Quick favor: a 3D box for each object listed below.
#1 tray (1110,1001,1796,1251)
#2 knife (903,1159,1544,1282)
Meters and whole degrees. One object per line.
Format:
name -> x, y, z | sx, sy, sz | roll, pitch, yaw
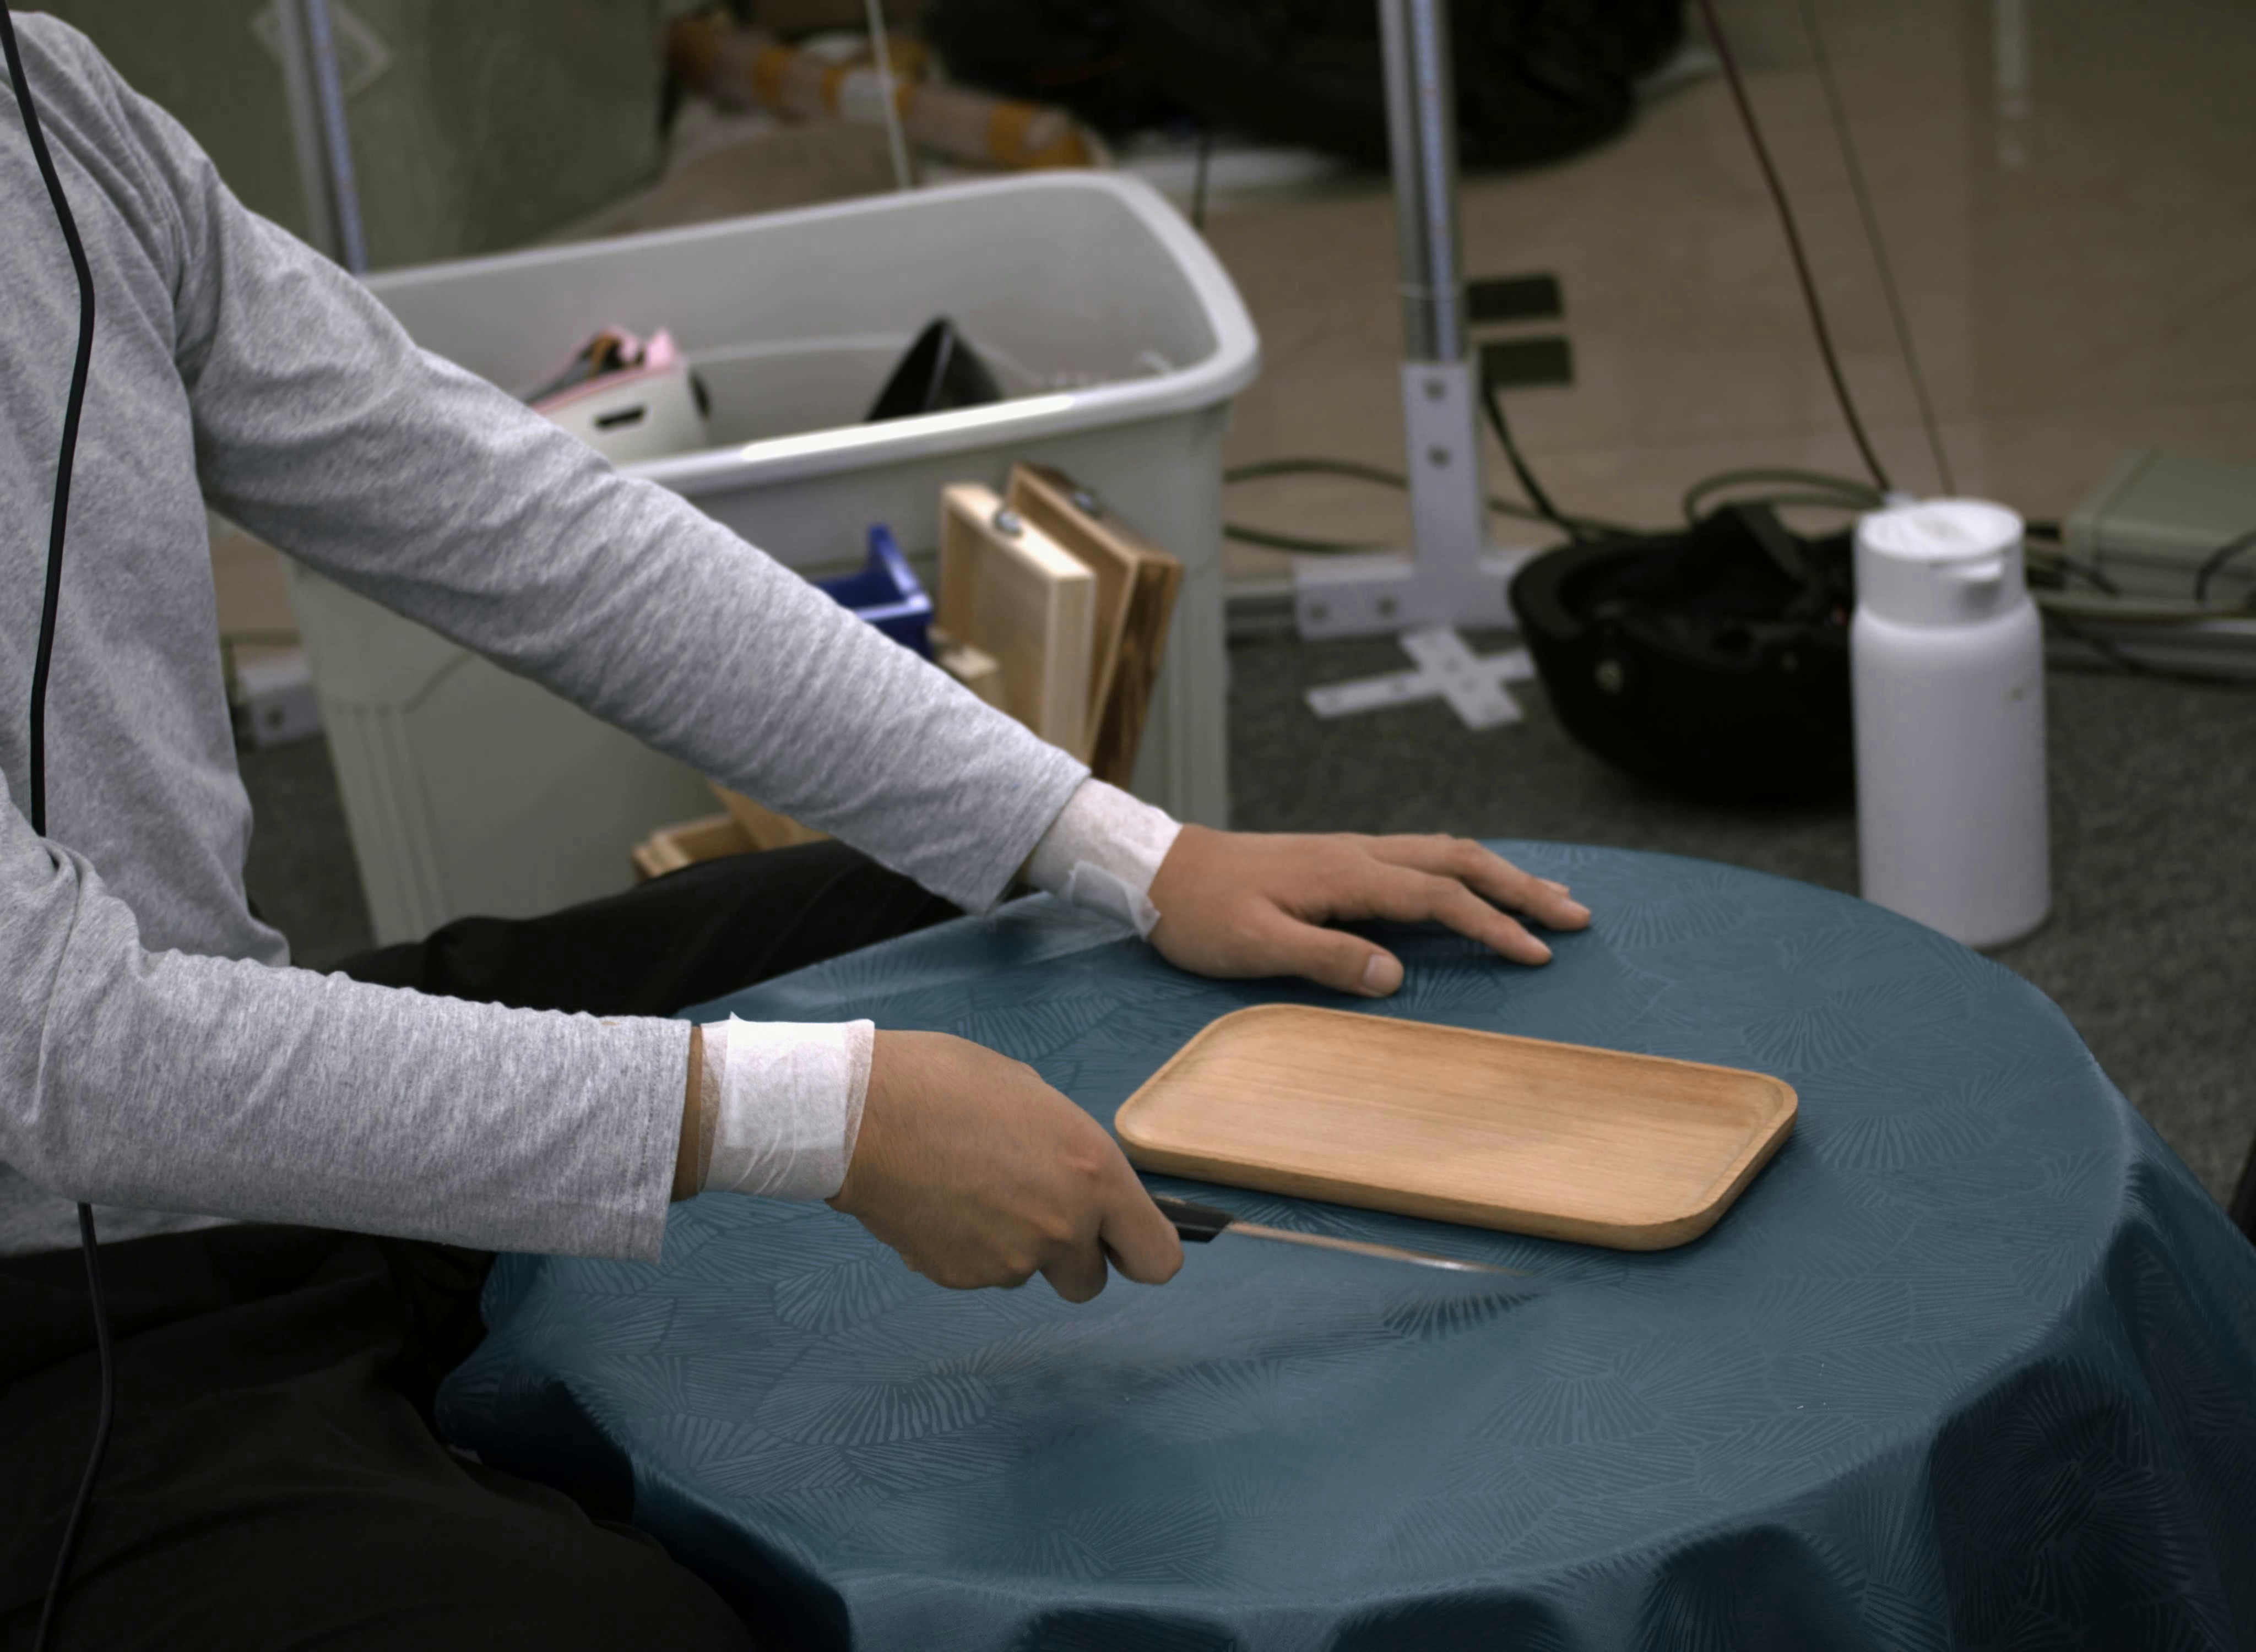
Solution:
tray -> 0.122, 0.113, 2.158 | 0.249, 0.023, 0.129 | 7, 25, 30
knife -> 0.037, 0.145, 2.029 | 0.238, 0.016, 0.024 | 10, 13, -12
